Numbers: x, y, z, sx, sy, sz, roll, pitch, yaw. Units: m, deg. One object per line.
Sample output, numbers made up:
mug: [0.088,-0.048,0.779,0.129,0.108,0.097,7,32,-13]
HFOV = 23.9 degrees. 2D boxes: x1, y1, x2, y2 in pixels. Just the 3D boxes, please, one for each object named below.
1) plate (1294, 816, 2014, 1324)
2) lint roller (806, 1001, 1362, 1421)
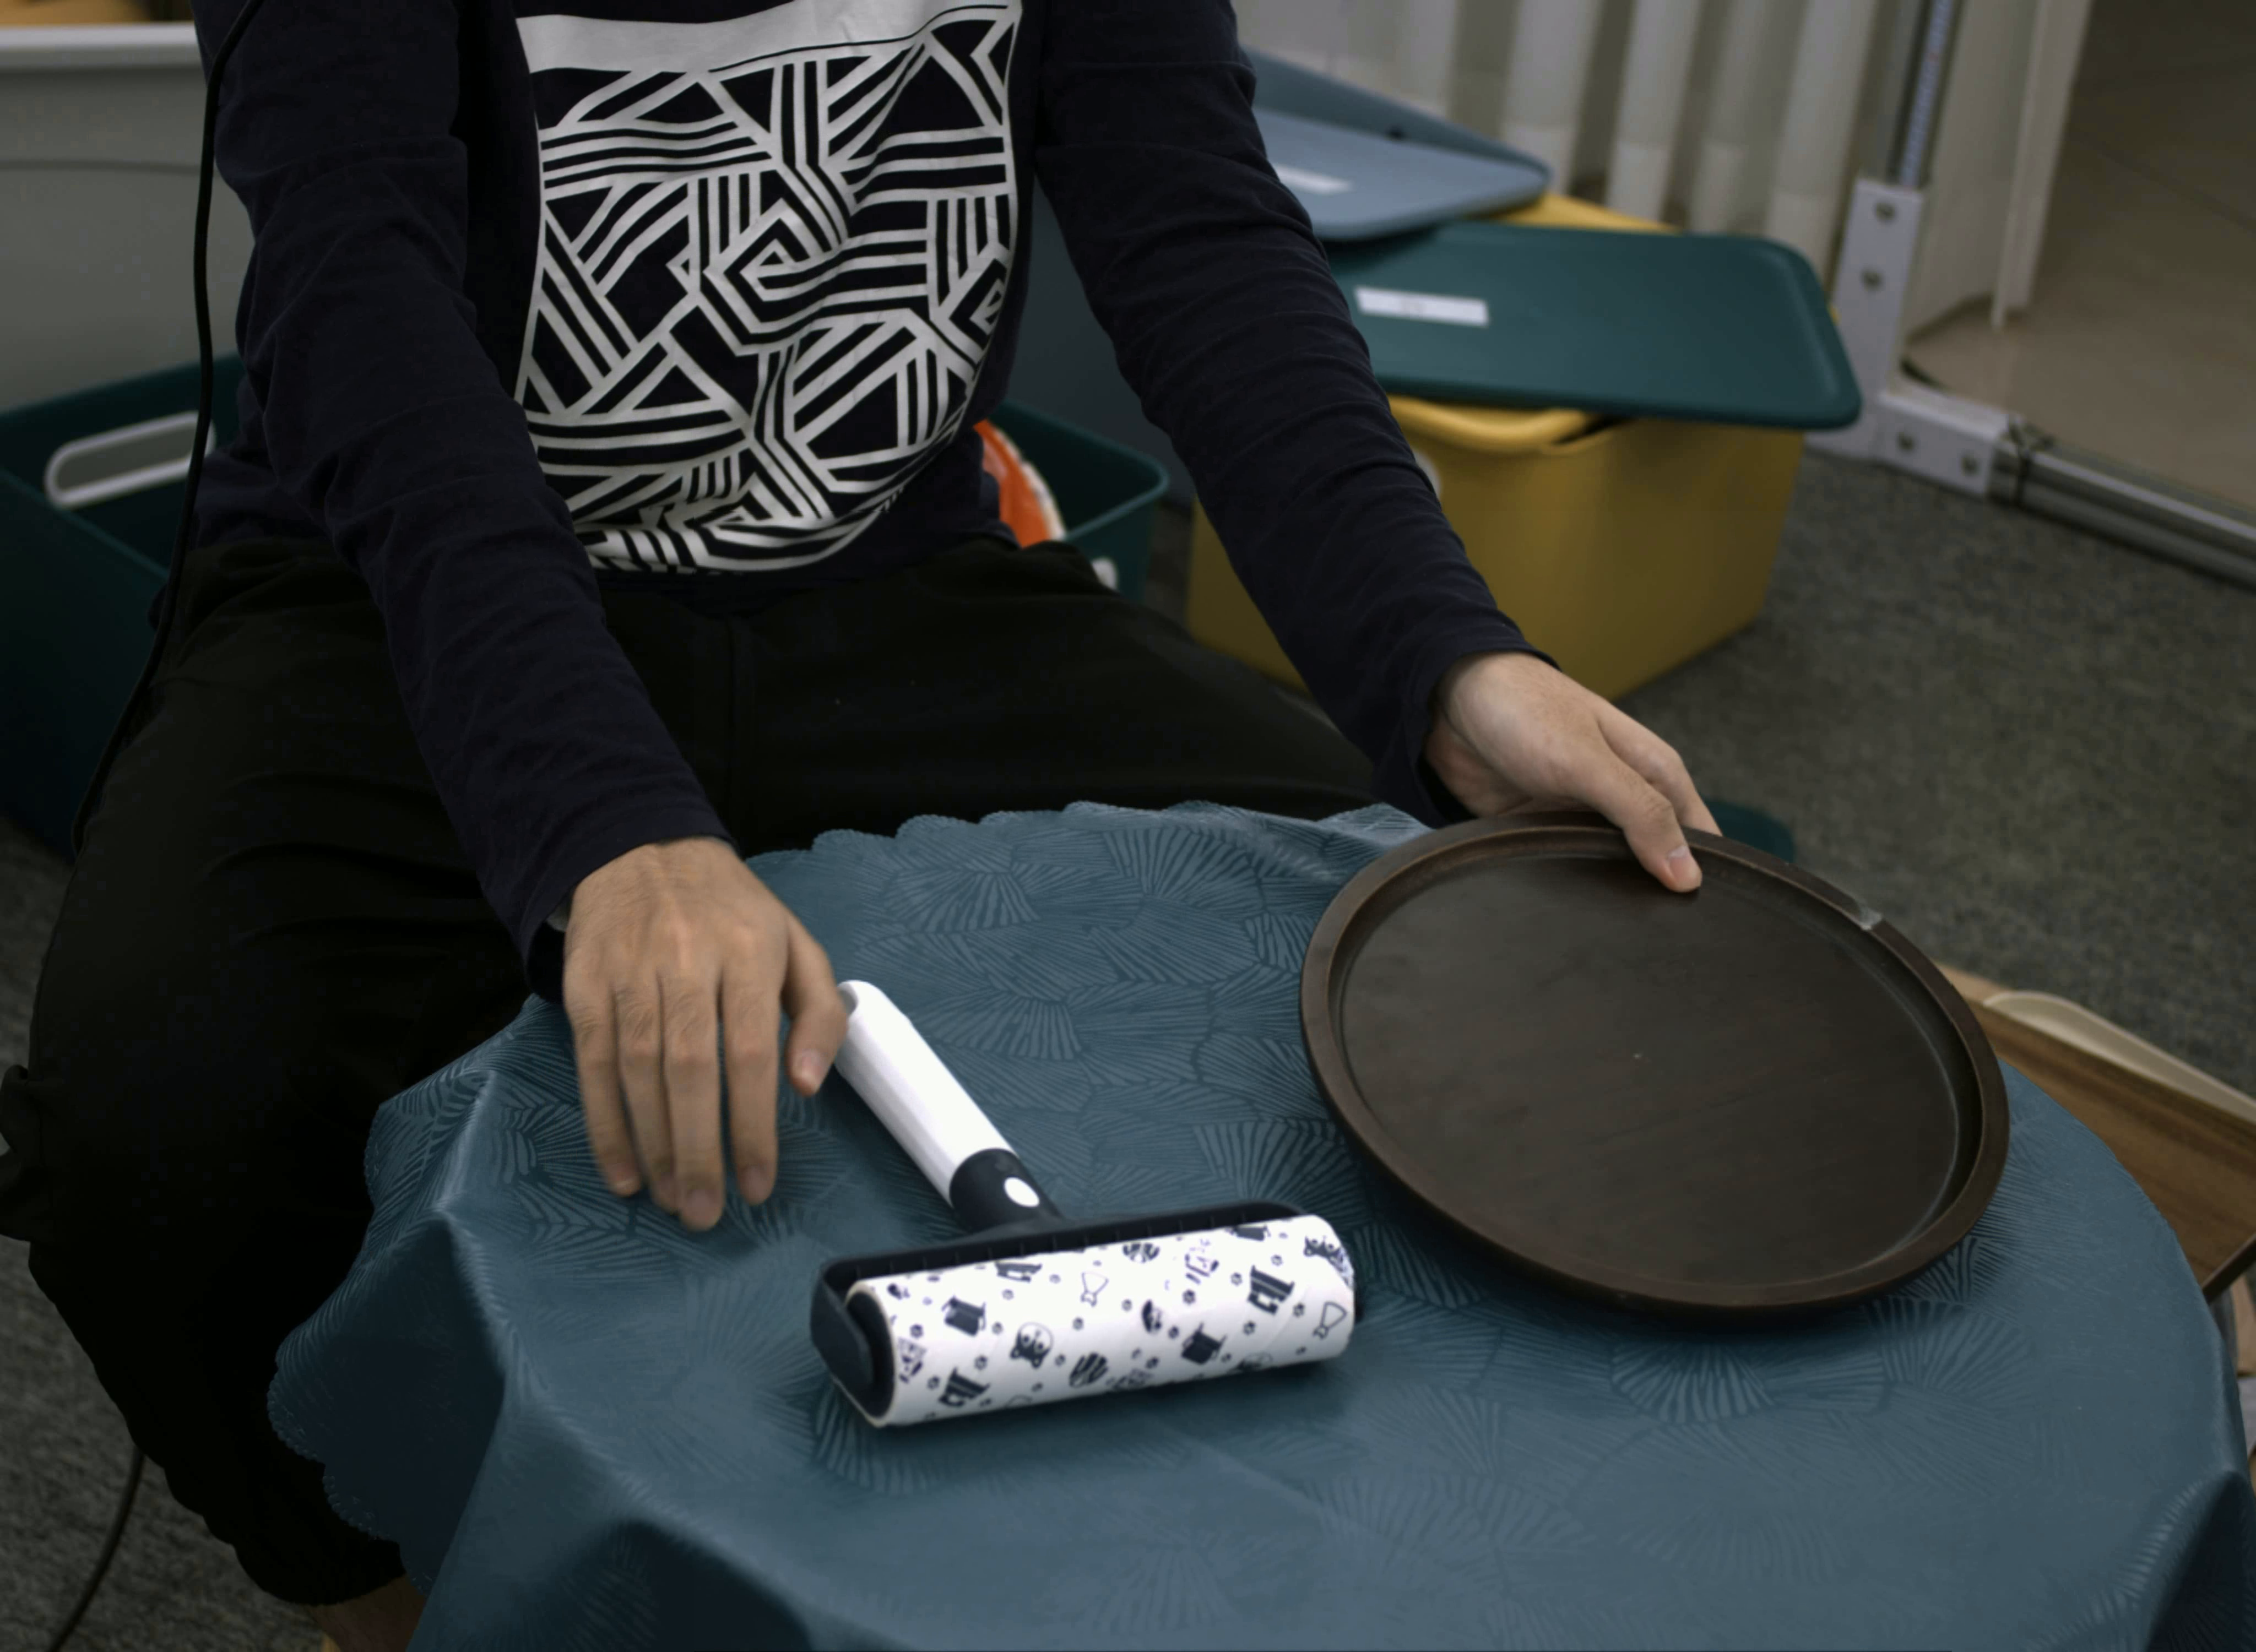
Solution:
plate: [0.181,0.083,1.849,0.254,0.029,0.257,6,37,-5]
lint roller: [-0.053,0.113,1.769,0.175,0.050,0.249,-8,28,-24]
